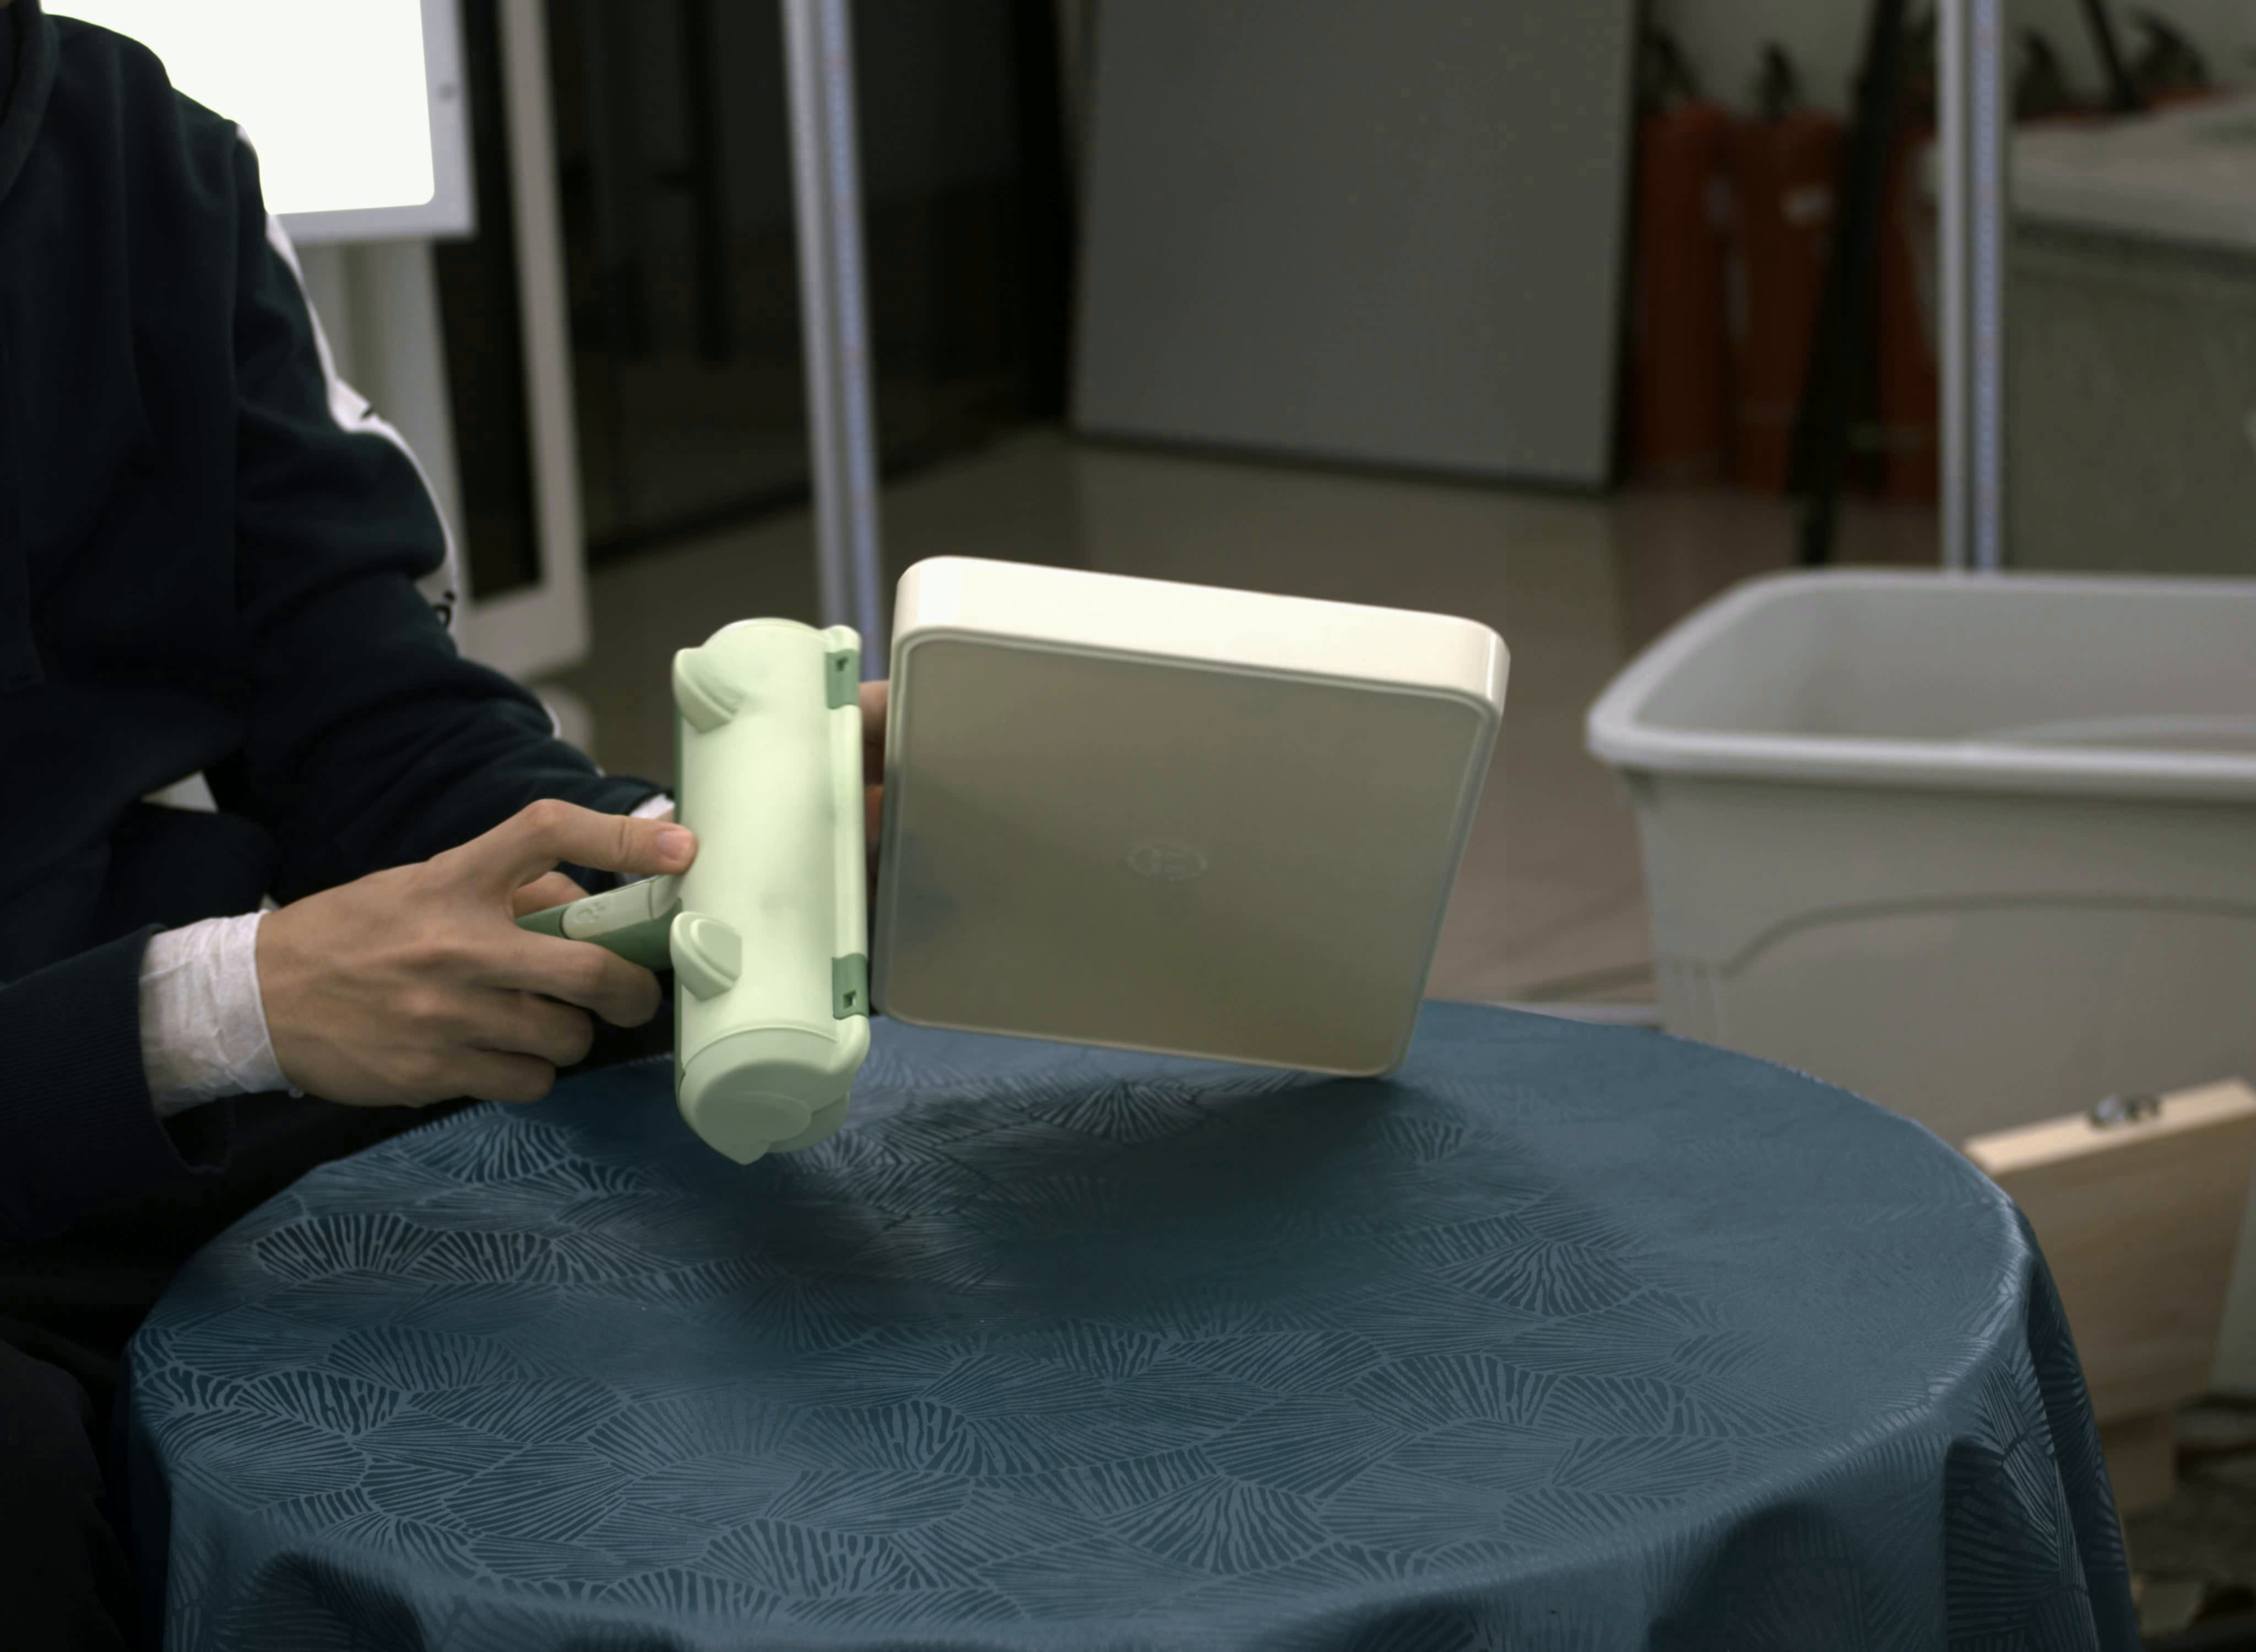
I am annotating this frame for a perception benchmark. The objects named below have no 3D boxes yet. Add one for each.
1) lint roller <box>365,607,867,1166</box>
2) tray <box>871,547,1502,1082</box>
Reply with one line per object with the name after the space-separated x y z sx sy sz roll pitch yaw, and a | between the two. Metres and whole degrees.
-0.167 0.024 1.695 0.182 0.082 0.200 -15 44 12 | lint roller
0.012 0.004 1.750 0.189 0.027 0.301 6 -28 0 | tray
